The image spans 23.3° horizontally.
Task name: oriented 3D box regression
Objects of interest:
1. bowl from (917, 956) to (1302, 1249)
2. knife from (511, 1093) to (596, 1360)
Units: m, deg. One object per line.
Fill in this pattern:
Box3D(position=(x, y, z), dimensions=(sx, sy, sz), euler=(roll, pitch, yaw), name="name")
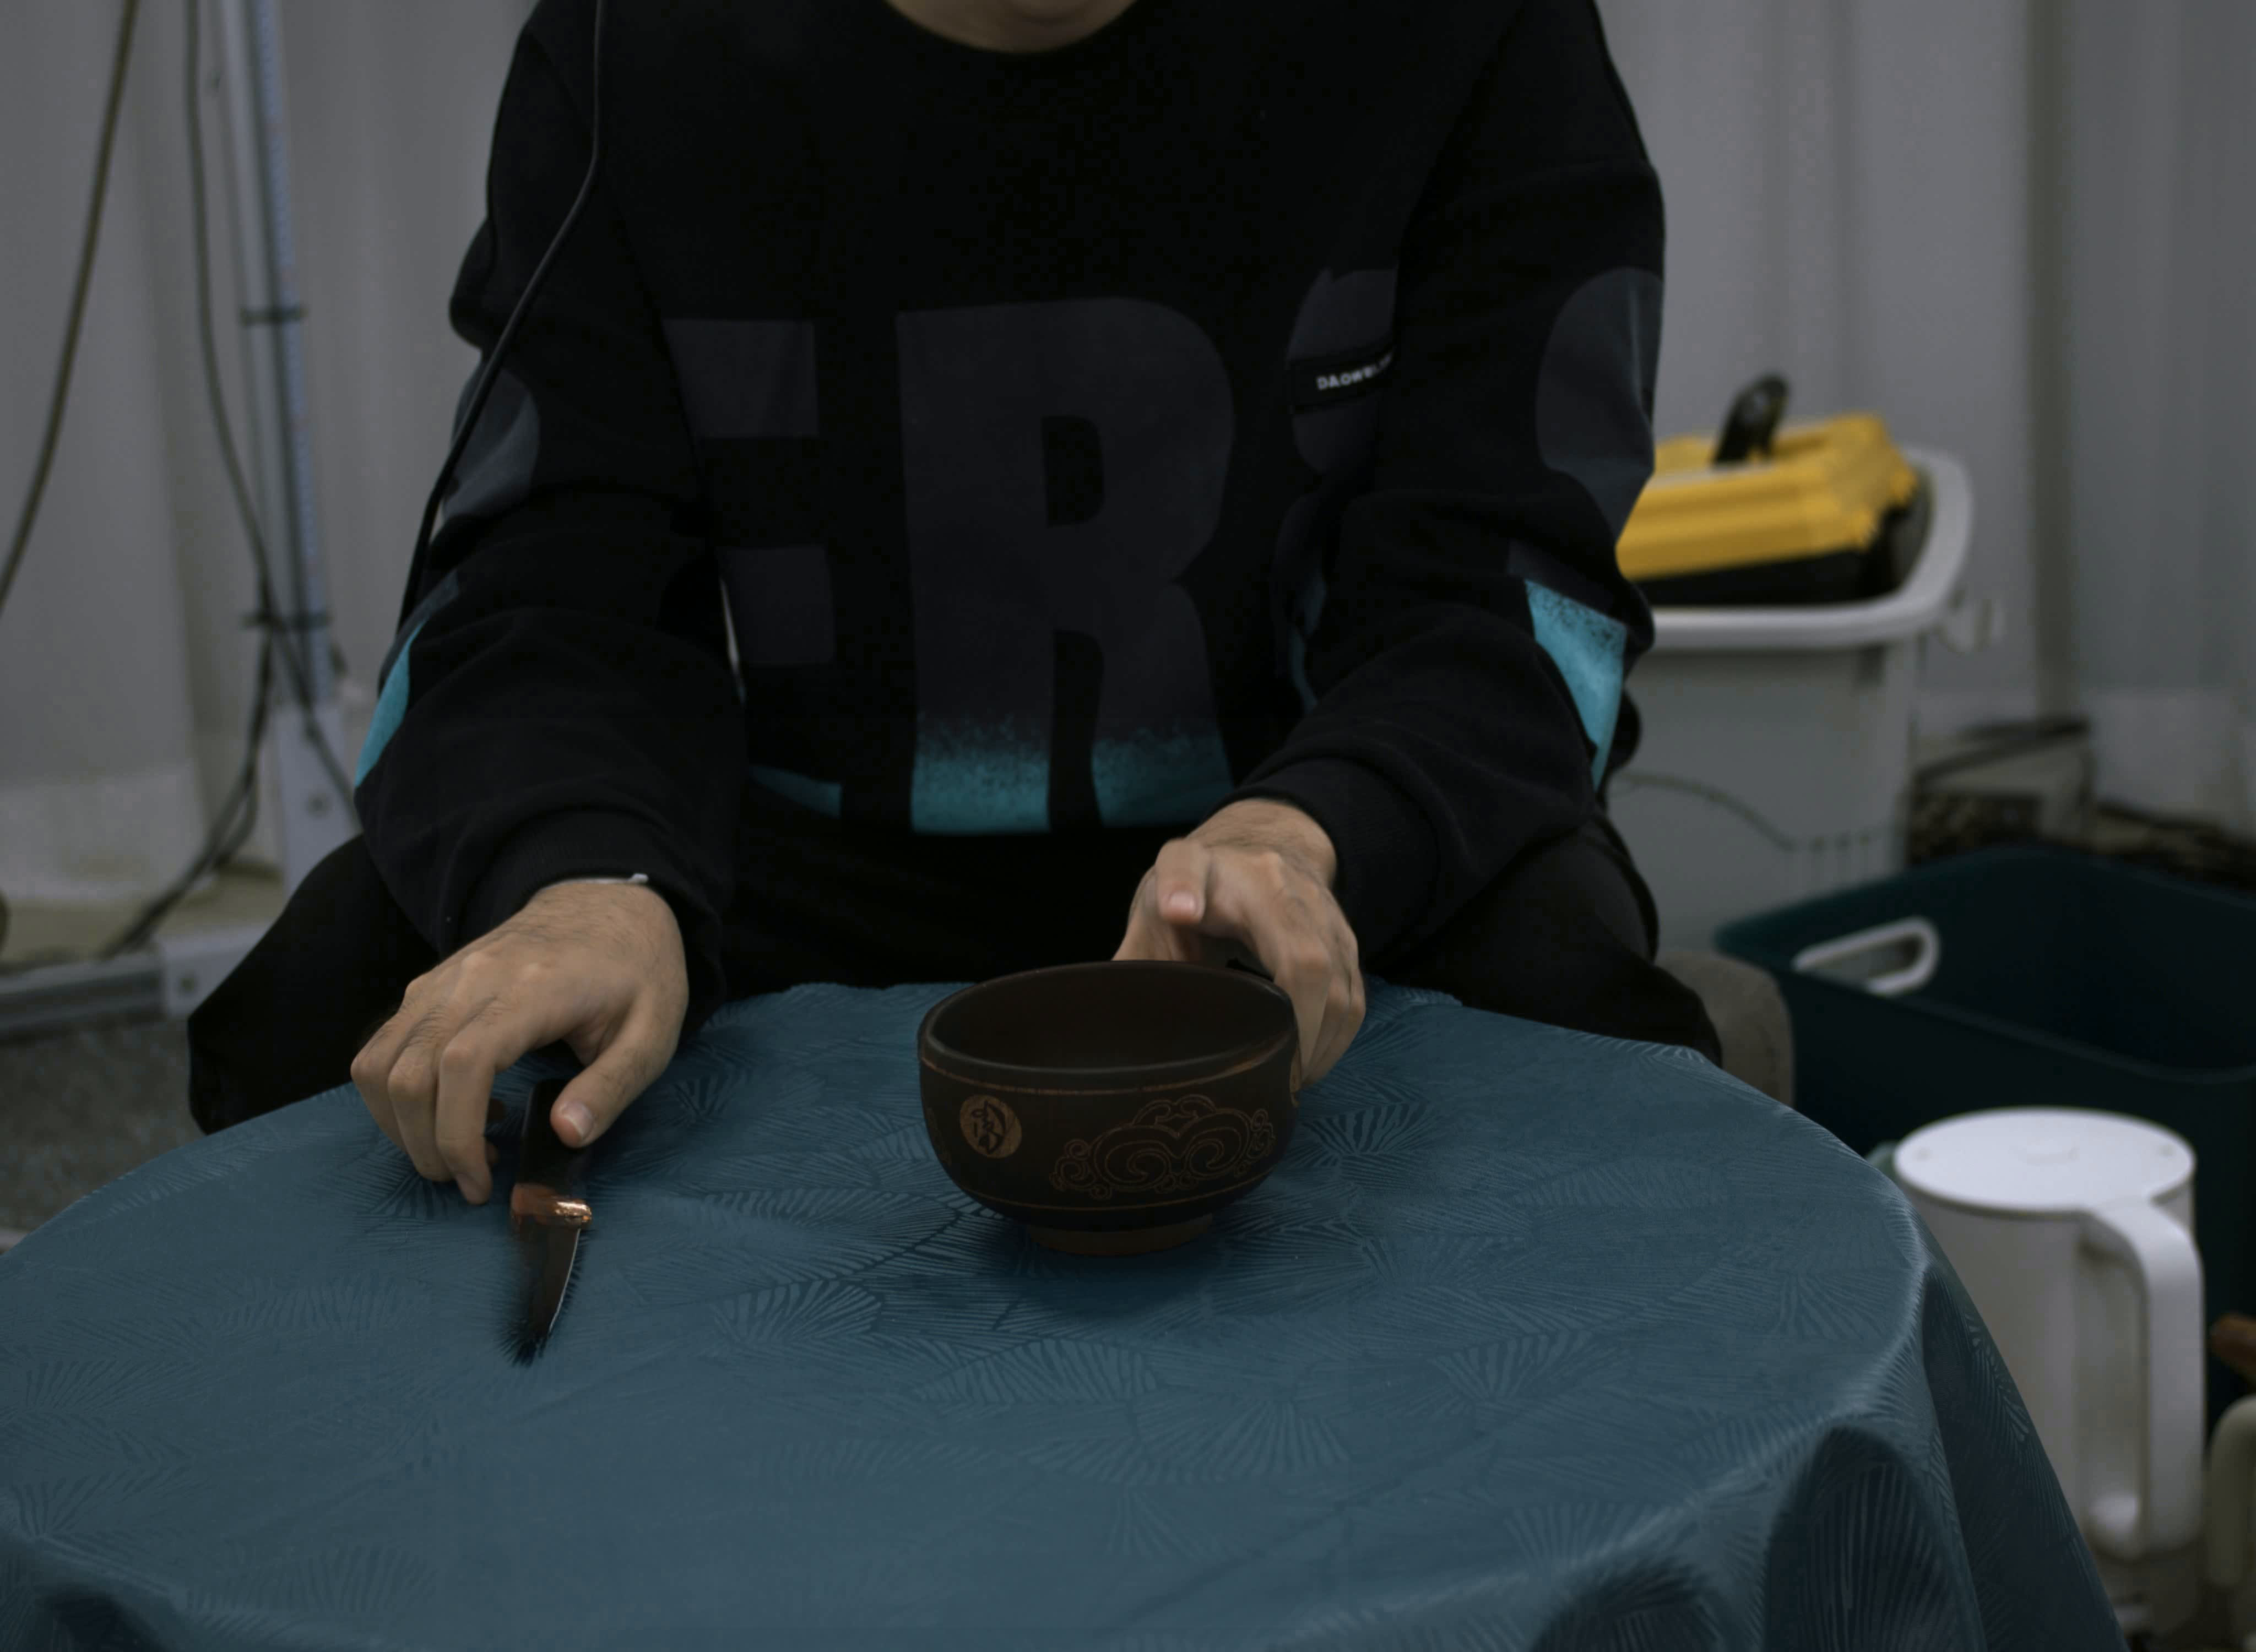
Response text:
Box3D(position=(-0.005, 0.088, 1.672), dimensions=(0.117, 0.069, 0.119), euler=(-1, 14, 0), name="bowl")
Box3D(position=(-0.178, 0.124, 1.696), dimensions=(0.026, 0.017, 0.227), euler=(2, 15, -6), name="knife")
